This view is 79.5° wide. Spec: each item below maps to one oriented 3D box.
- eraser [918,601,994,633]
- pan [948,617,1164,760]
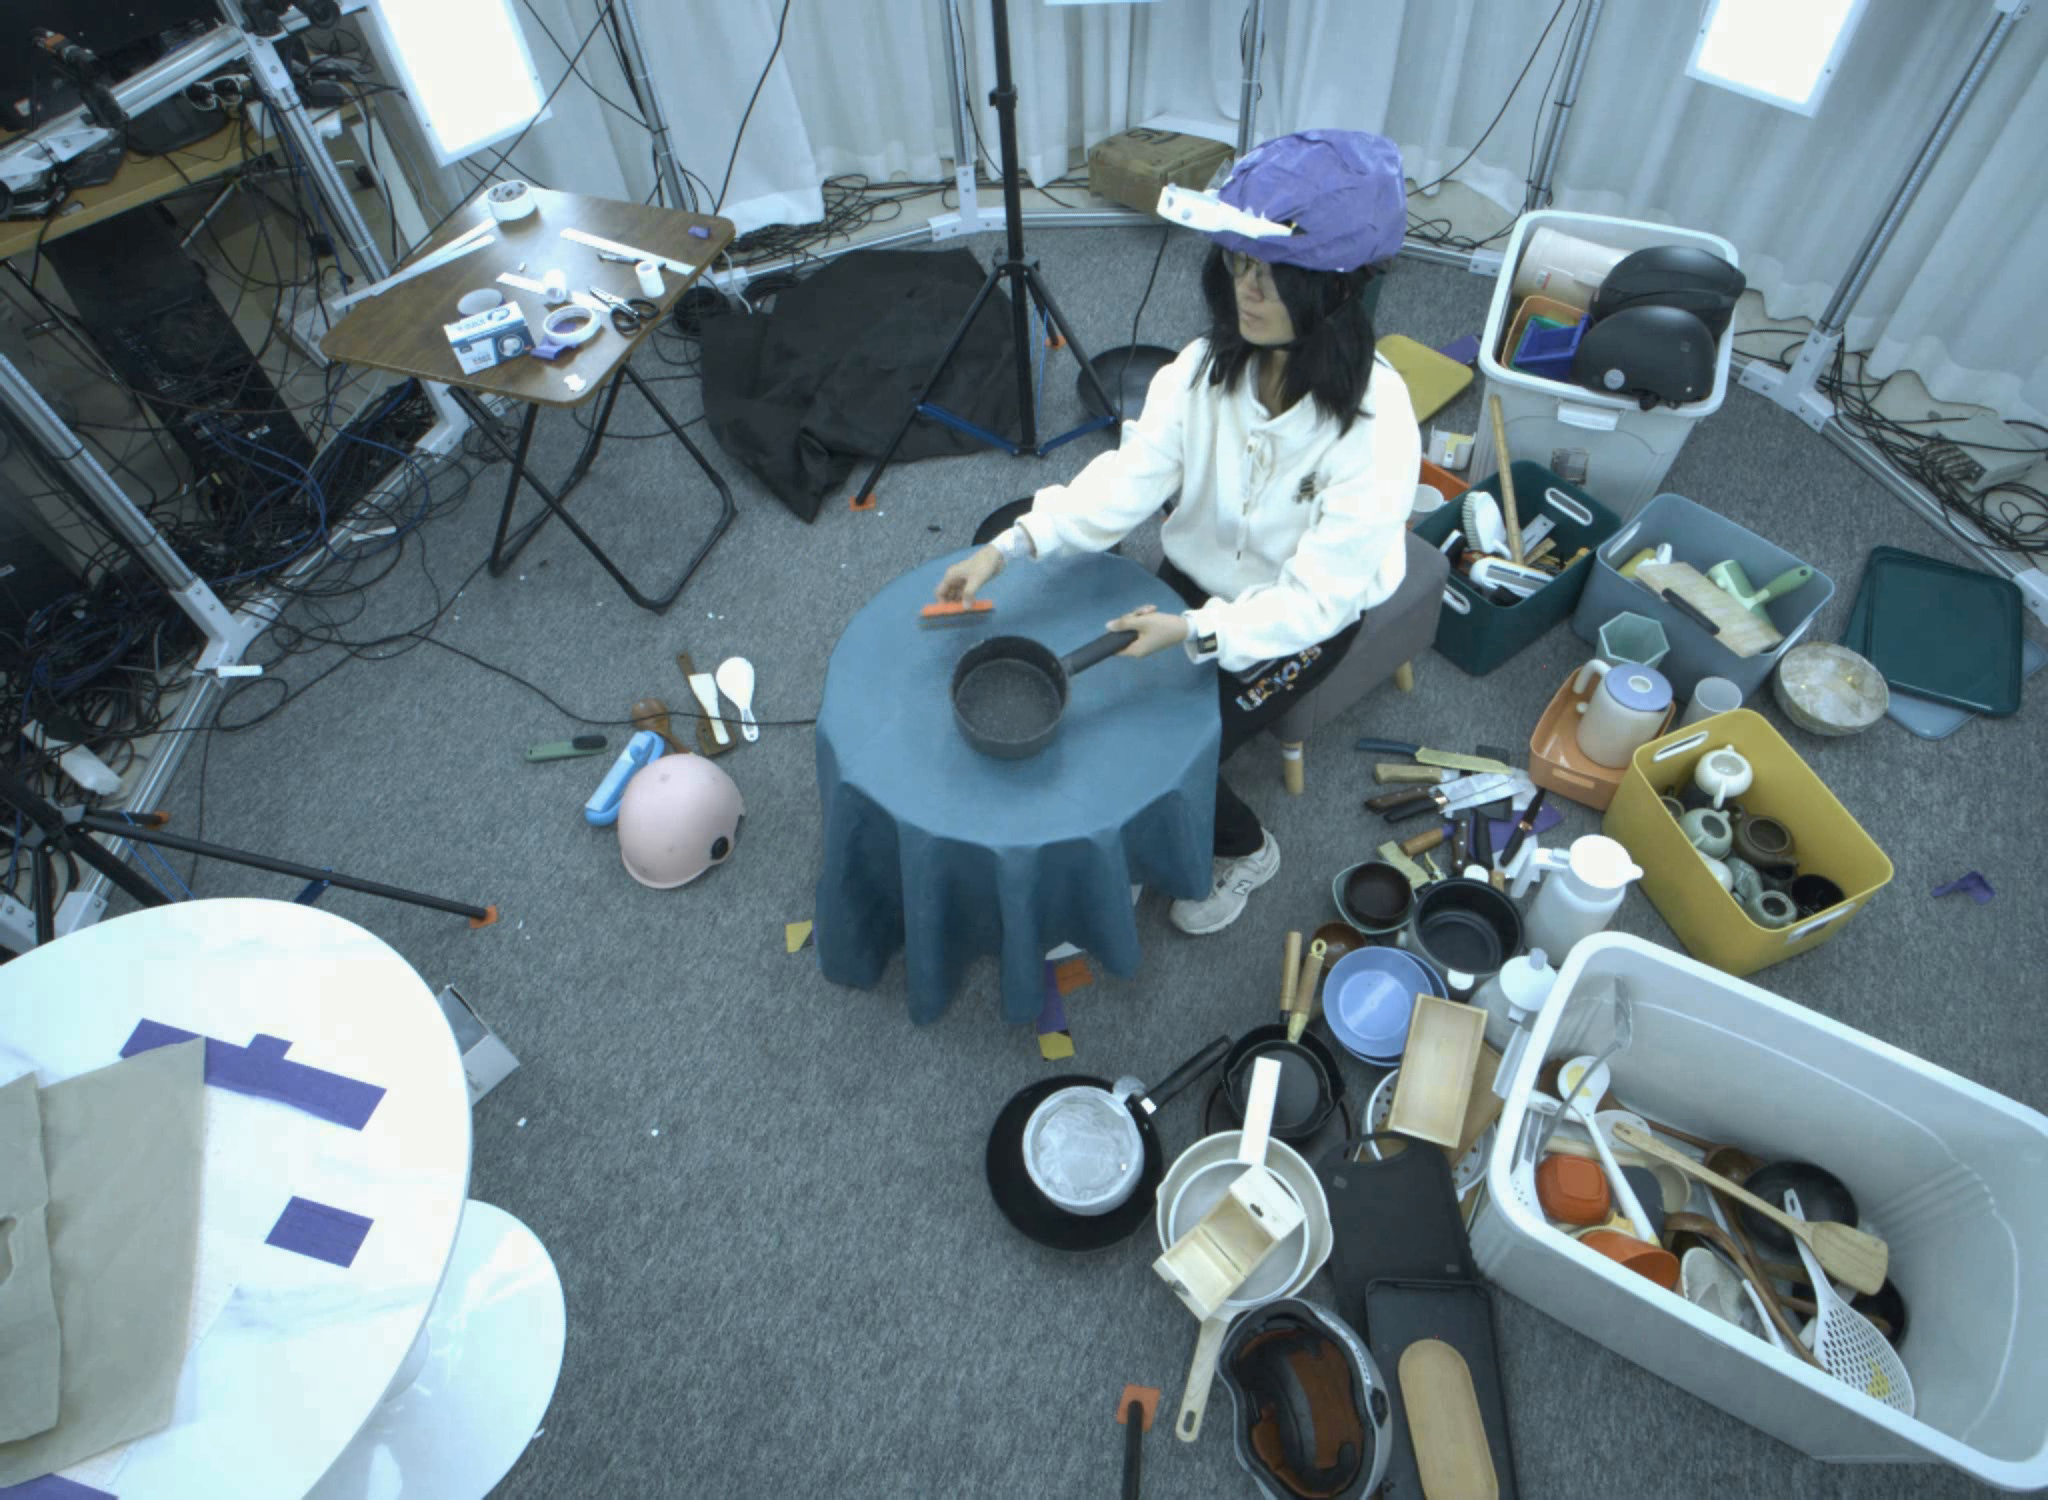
[{"bbox_3d":[-0.103,-0.200,1.844,0.109,0.058,0.023,-9,82,-17],"label":"eraser"},{"bbox_3d":[0.048,-0.106,1.781,0.331,0.087,0.170,-24,74,-11],"label":"pan"}]
